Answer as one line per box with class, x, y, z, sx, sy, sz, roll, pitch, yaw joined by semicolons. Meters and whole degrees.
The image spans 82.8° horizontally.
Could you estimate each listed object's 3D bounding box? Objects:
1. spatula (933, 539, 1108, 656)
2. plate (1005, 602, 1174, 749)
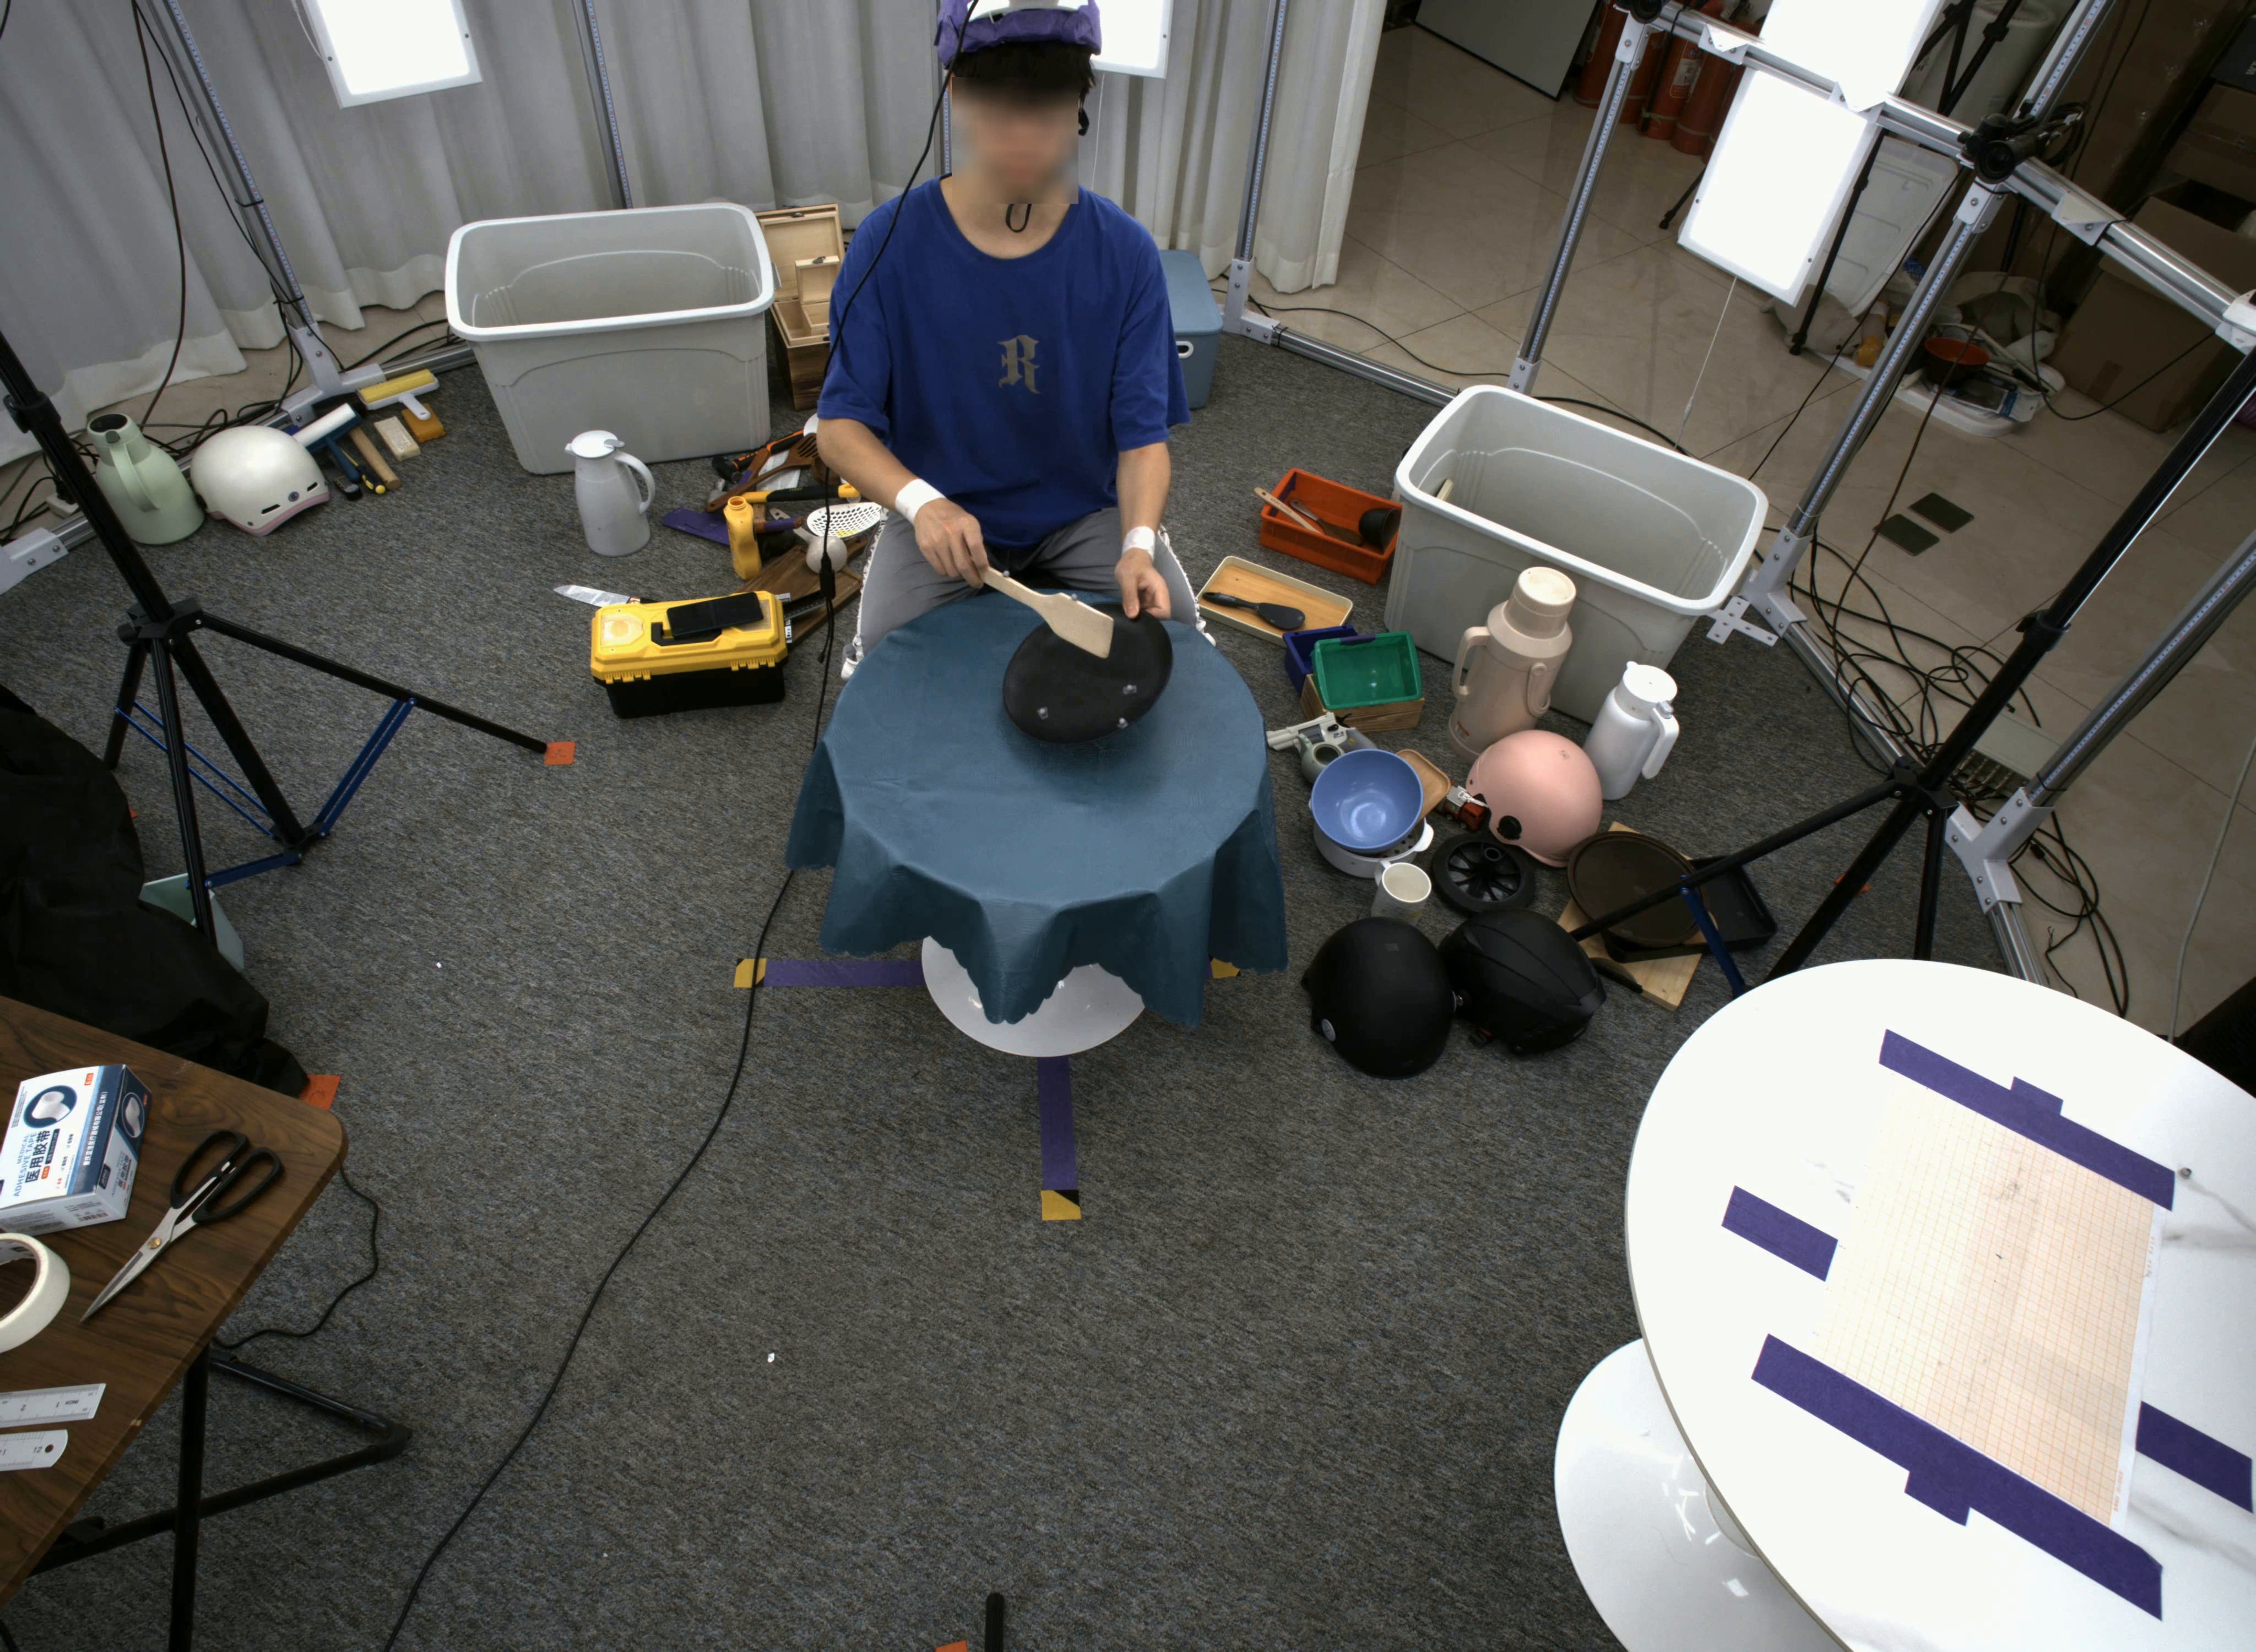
spatula;-0.149;-0.319;1.741;0.296;0.070;0.011;31;53;19
plate;-0.052;-0.205;1.757;0.244;0.023;0.250;-10;56;15
